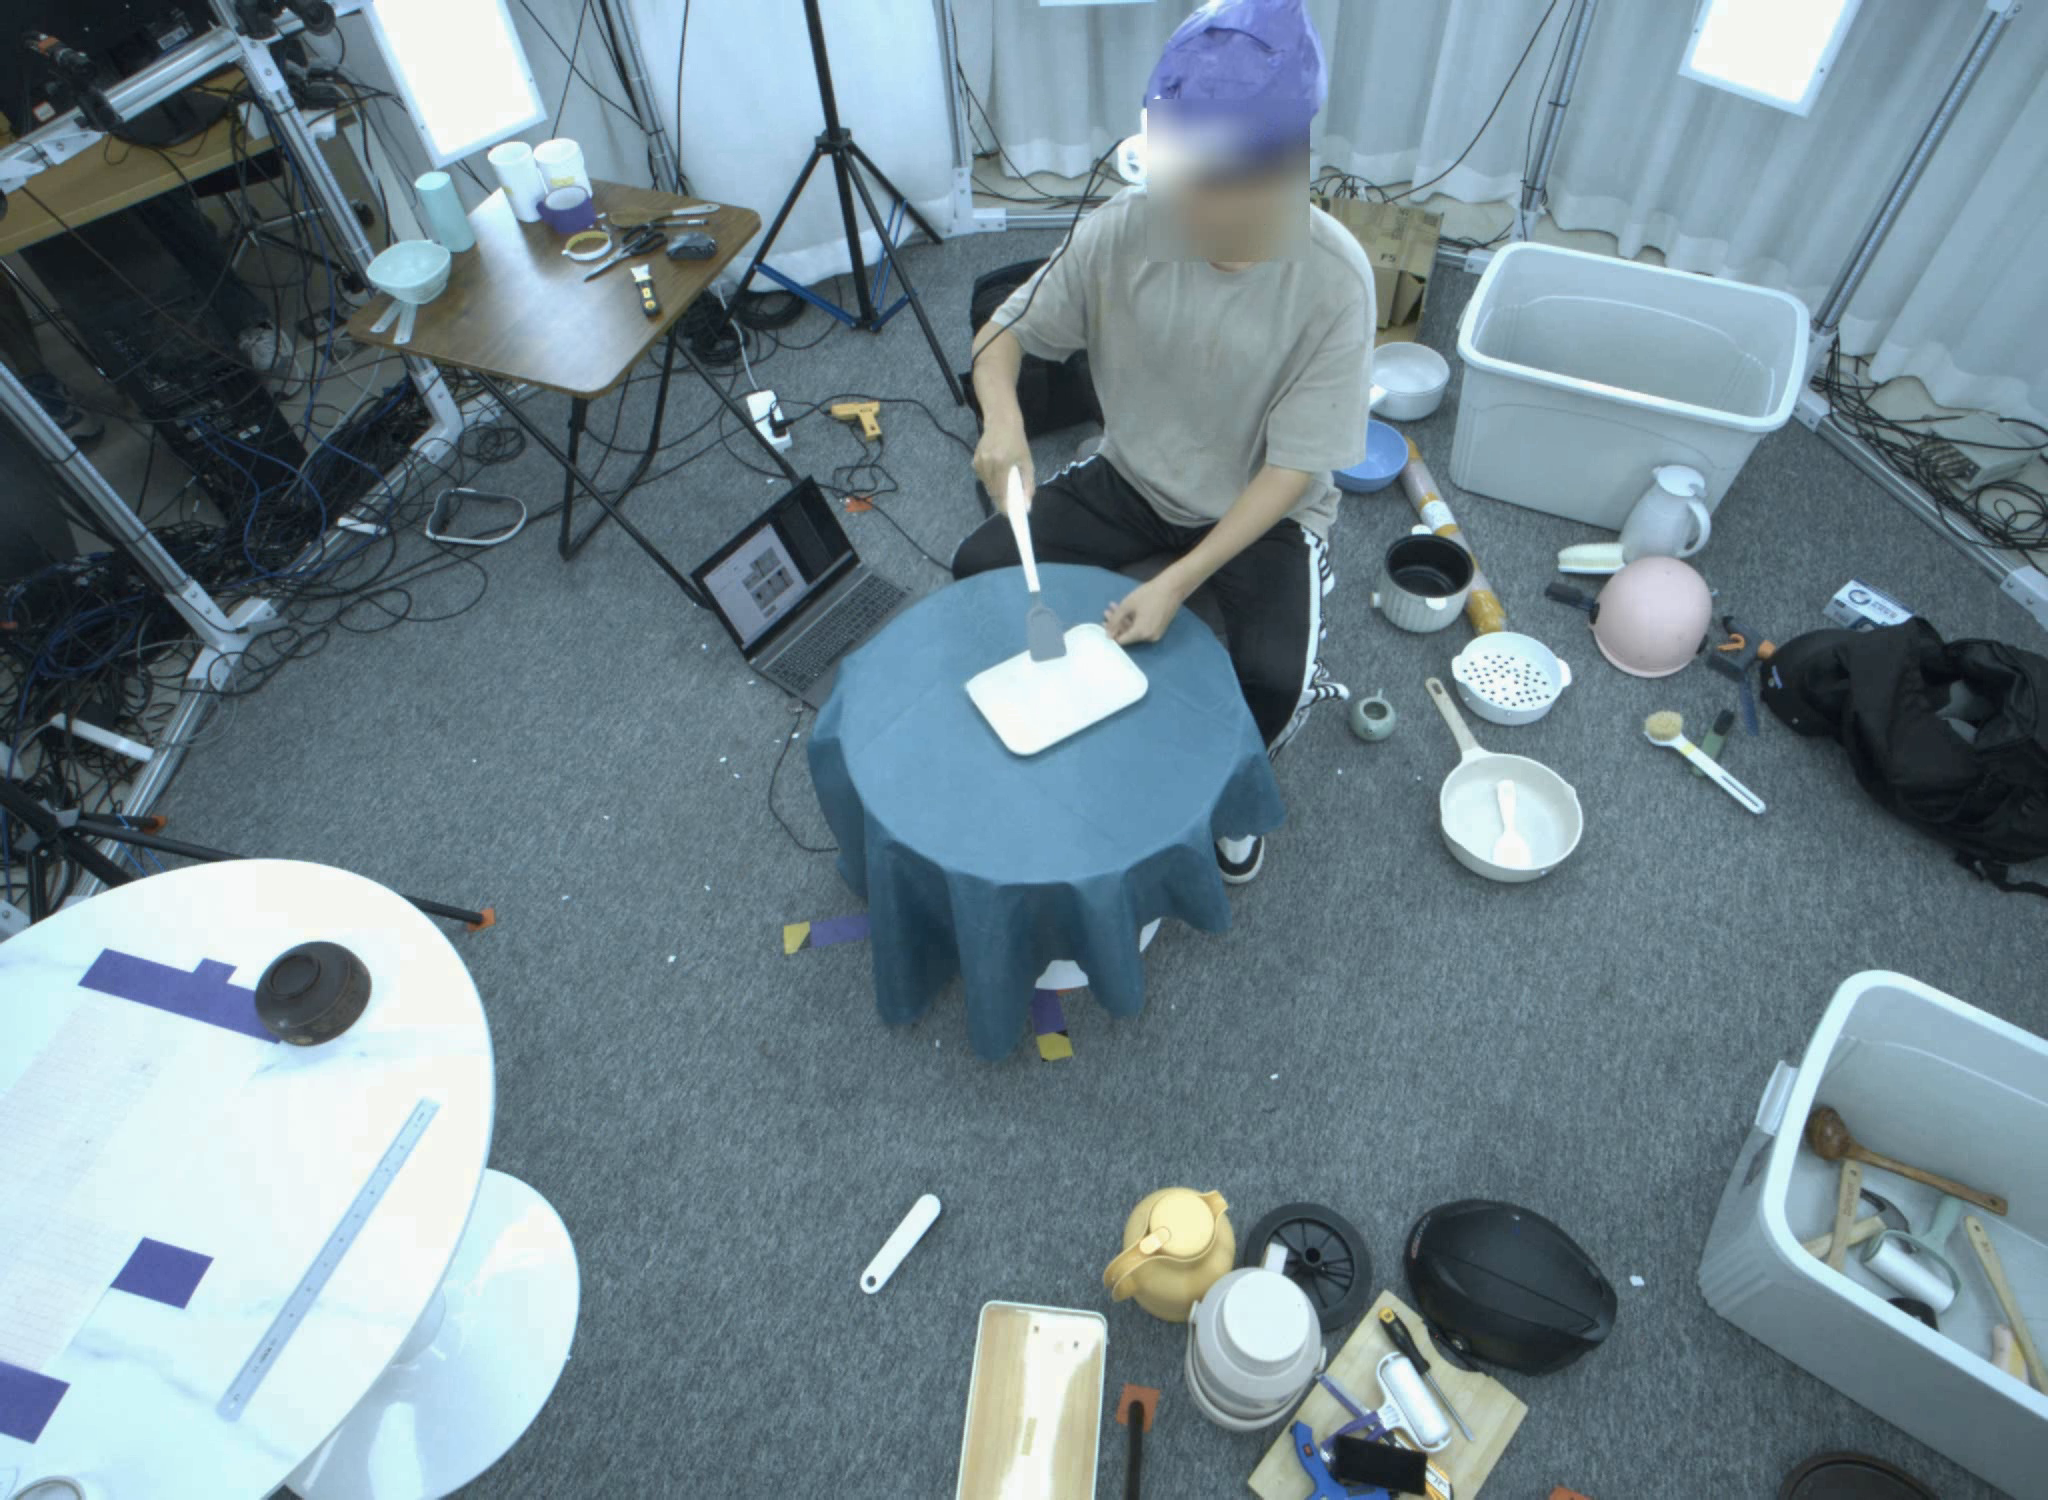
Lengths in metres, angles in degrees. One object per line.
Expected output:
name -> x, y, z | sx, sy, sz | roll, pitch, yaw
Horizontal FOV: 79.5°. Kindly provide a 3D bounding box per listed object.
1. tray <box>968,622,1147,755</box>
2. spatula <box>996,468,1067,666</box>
tray -> 0.050, -0.092, 1.837 | 0.241, 0.017, 0.168 | -27, 59, -16
spatula -> 0.005, -0.263, 1.758 | 0.059, 0.032, 0.287 | -13, 90, -6
